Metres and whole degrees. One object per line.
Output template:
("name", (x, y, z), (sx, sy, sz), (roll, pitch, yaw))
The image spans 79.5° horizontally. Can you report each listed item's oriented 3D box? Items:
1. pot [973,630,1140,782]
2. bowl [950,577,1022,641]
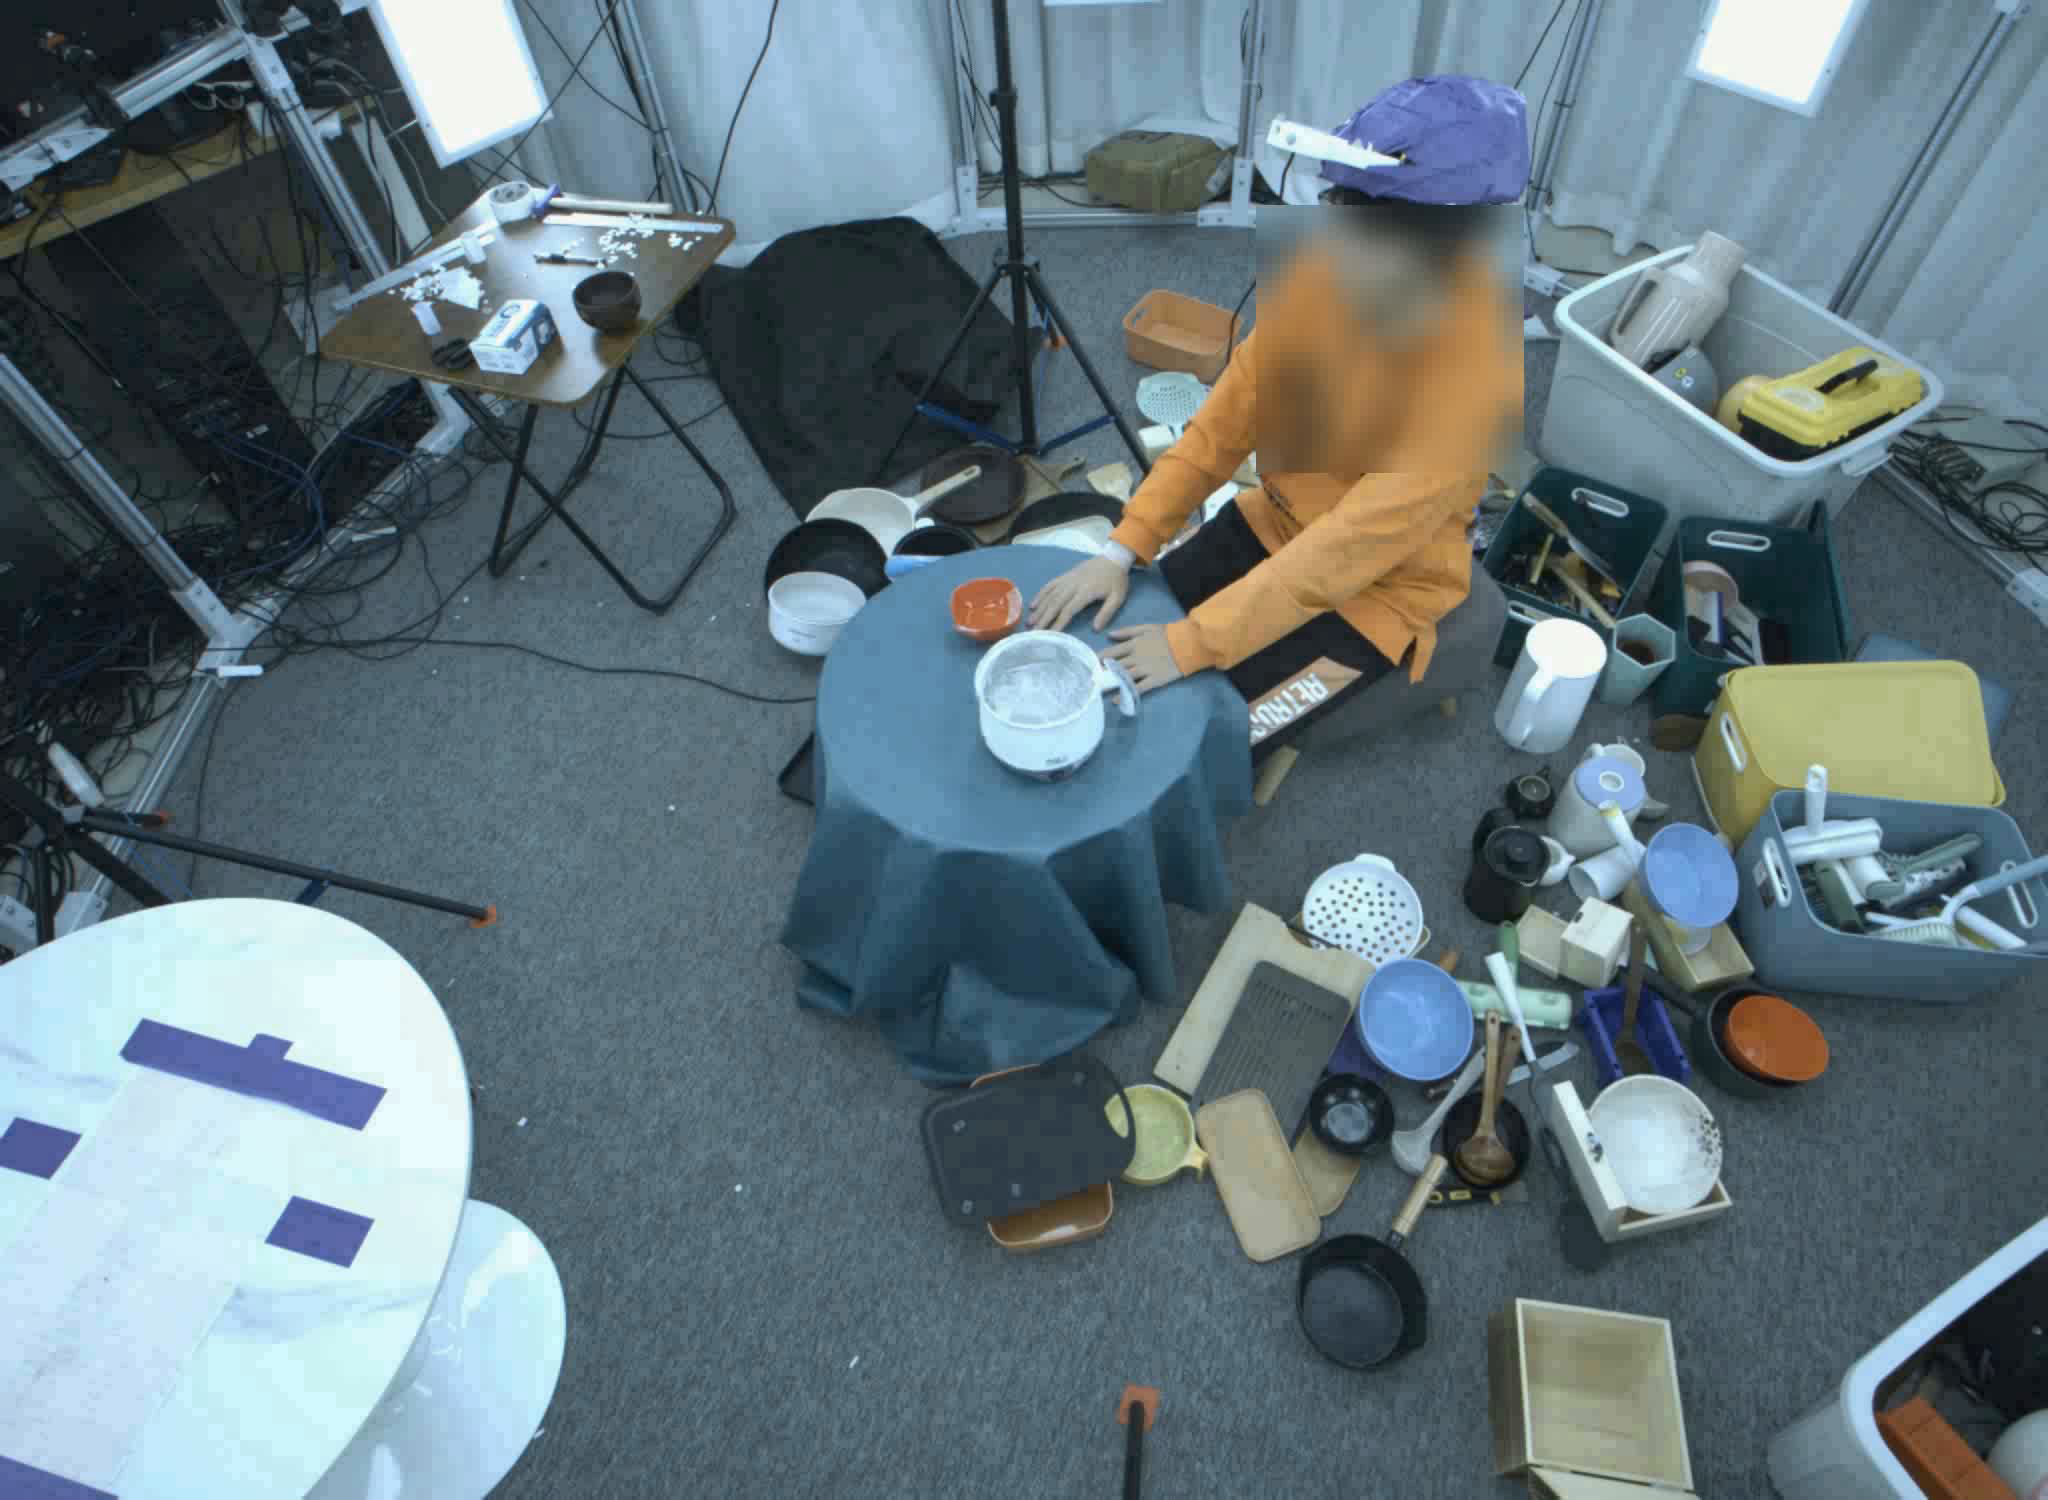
("pot", (0.050, -0.069, 1.749), (0.235, 0.138, 0.176), (-14, 56, -7))
("bowl", (-0.057, -0.212, 1.907), (0.118, 0.052, 0.117), (-2, 54, 4))
